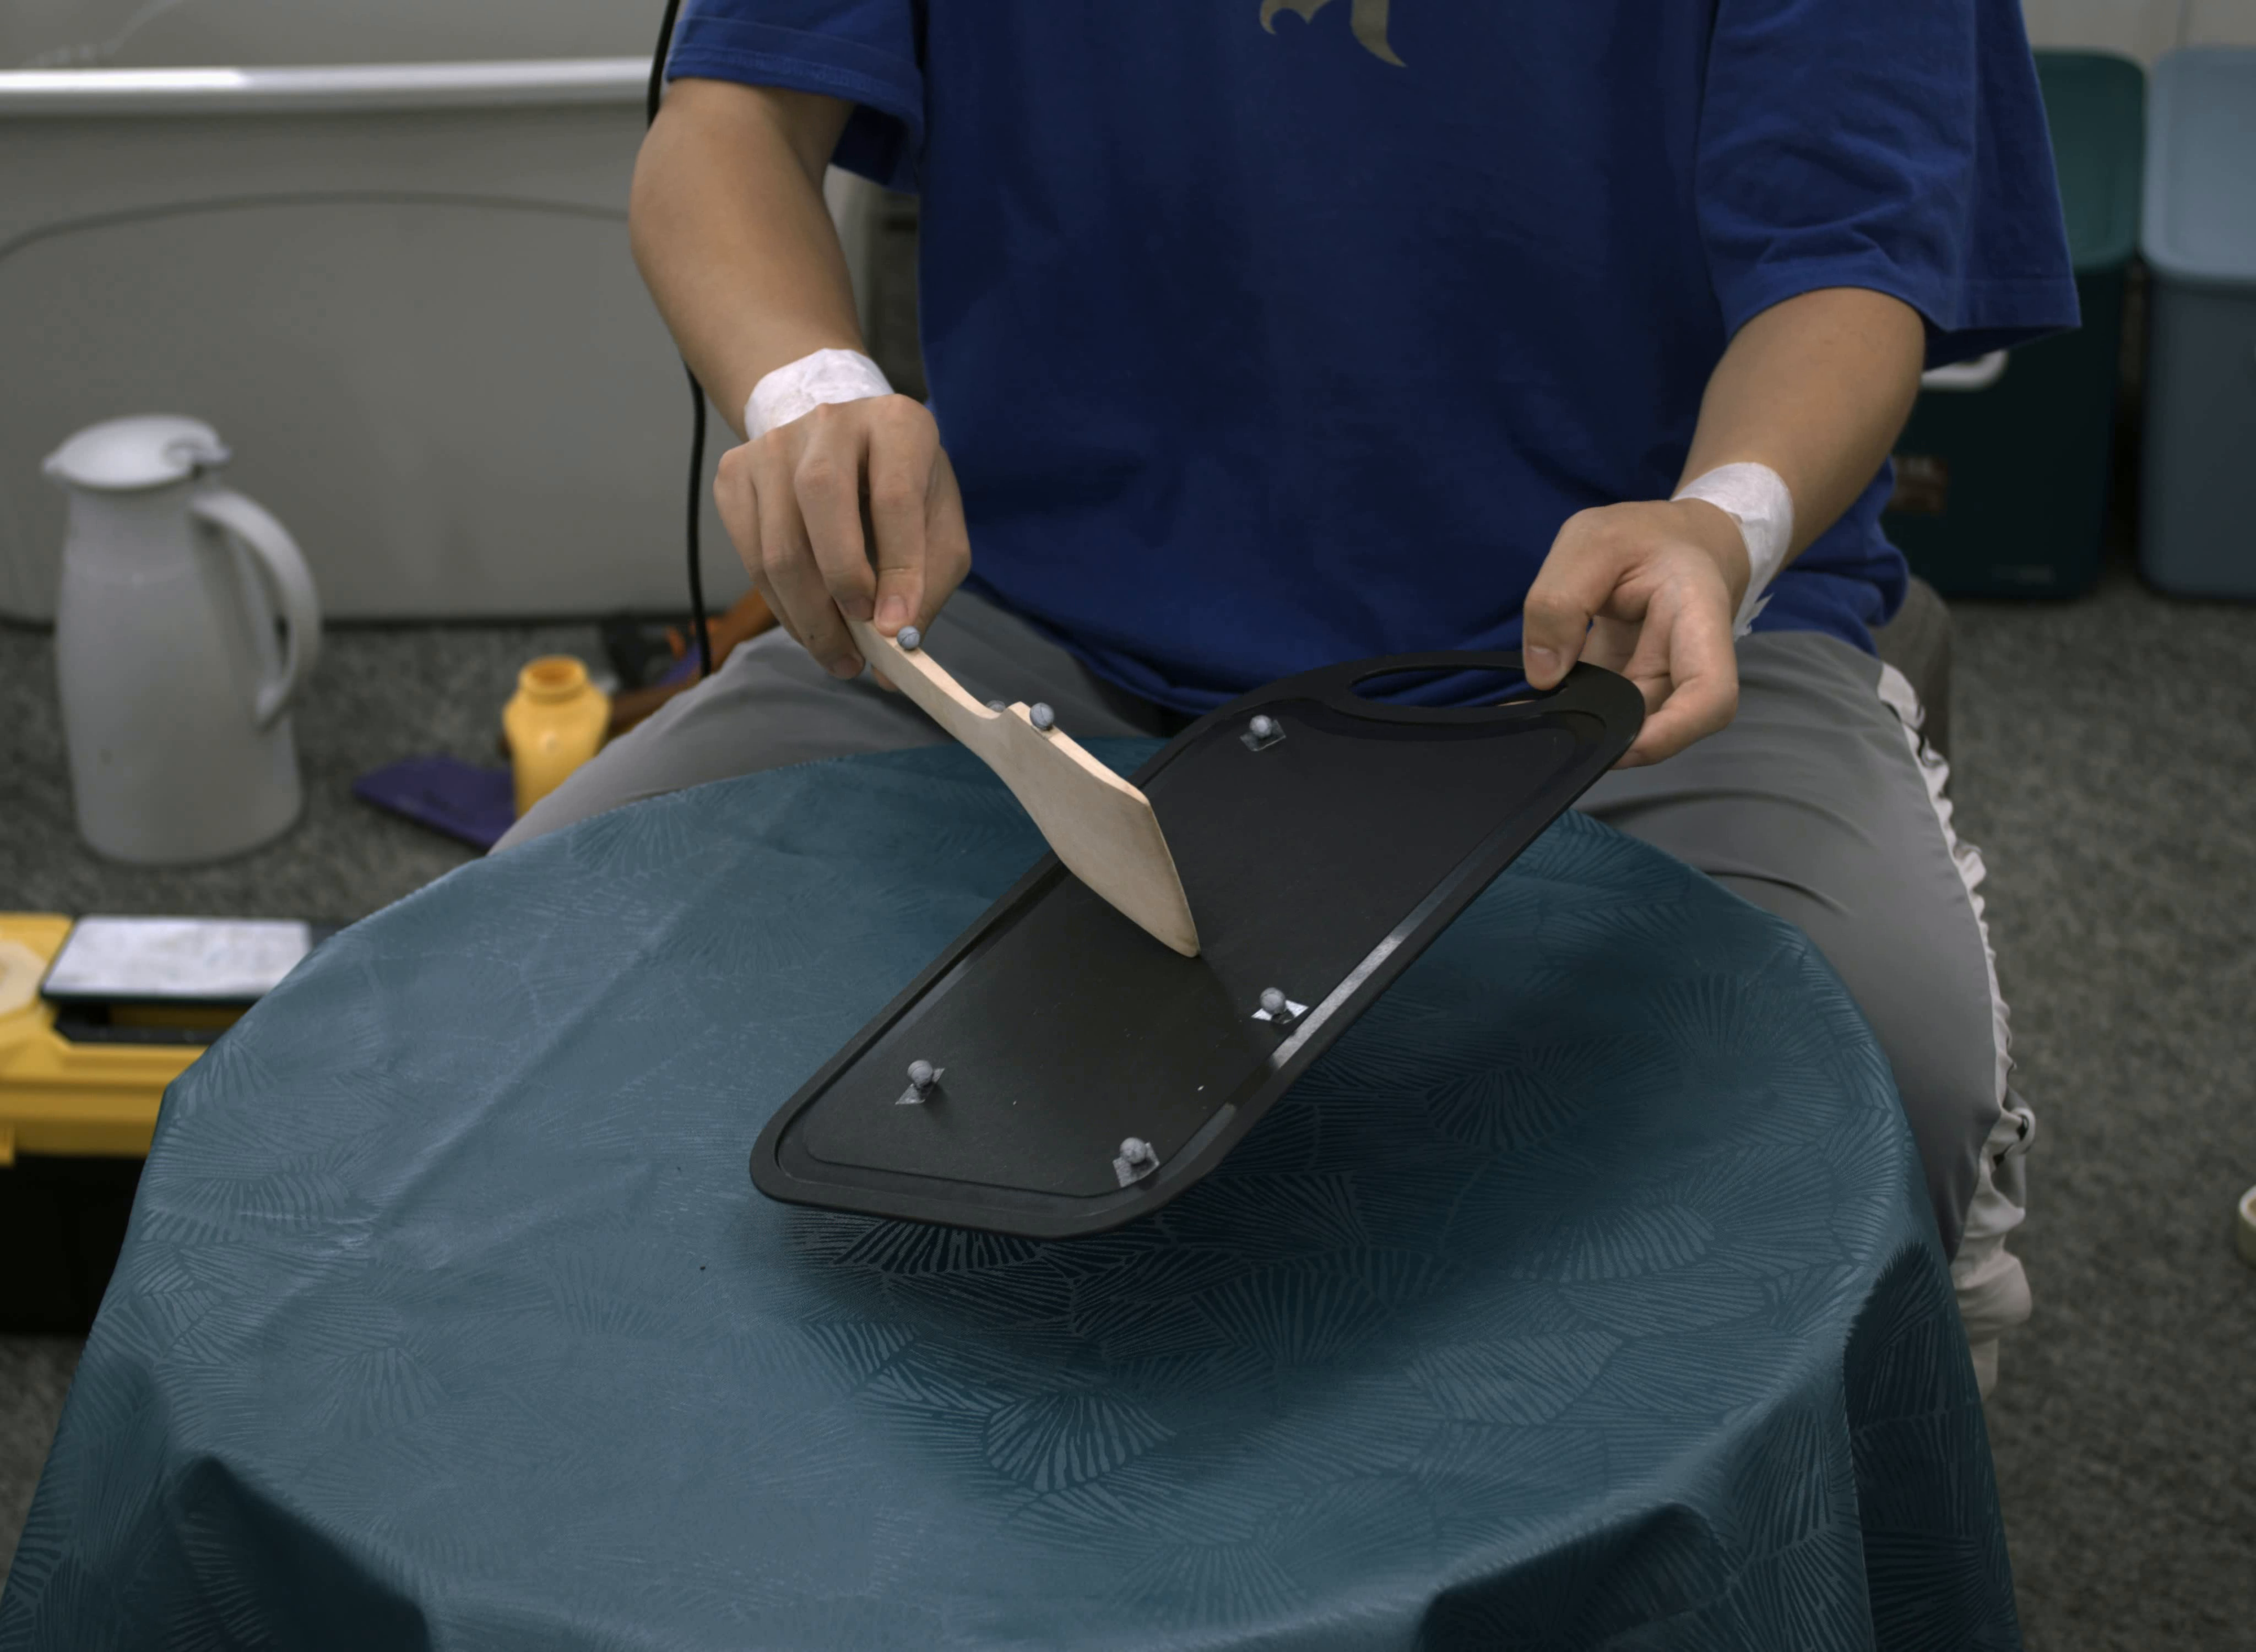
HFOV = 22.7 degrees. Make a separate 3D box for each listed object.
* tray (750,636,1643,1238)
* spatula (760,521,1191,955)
[{"bbox_3d":[0.027,0.028,1.860,0.209,0.010,0.330,3,37,47],"label":"tray"},{"bbox_3d":[-0.061,-0.042,1.932,0.011,0.071,0.294,-31,37,-14],"label":"spatula"}]
